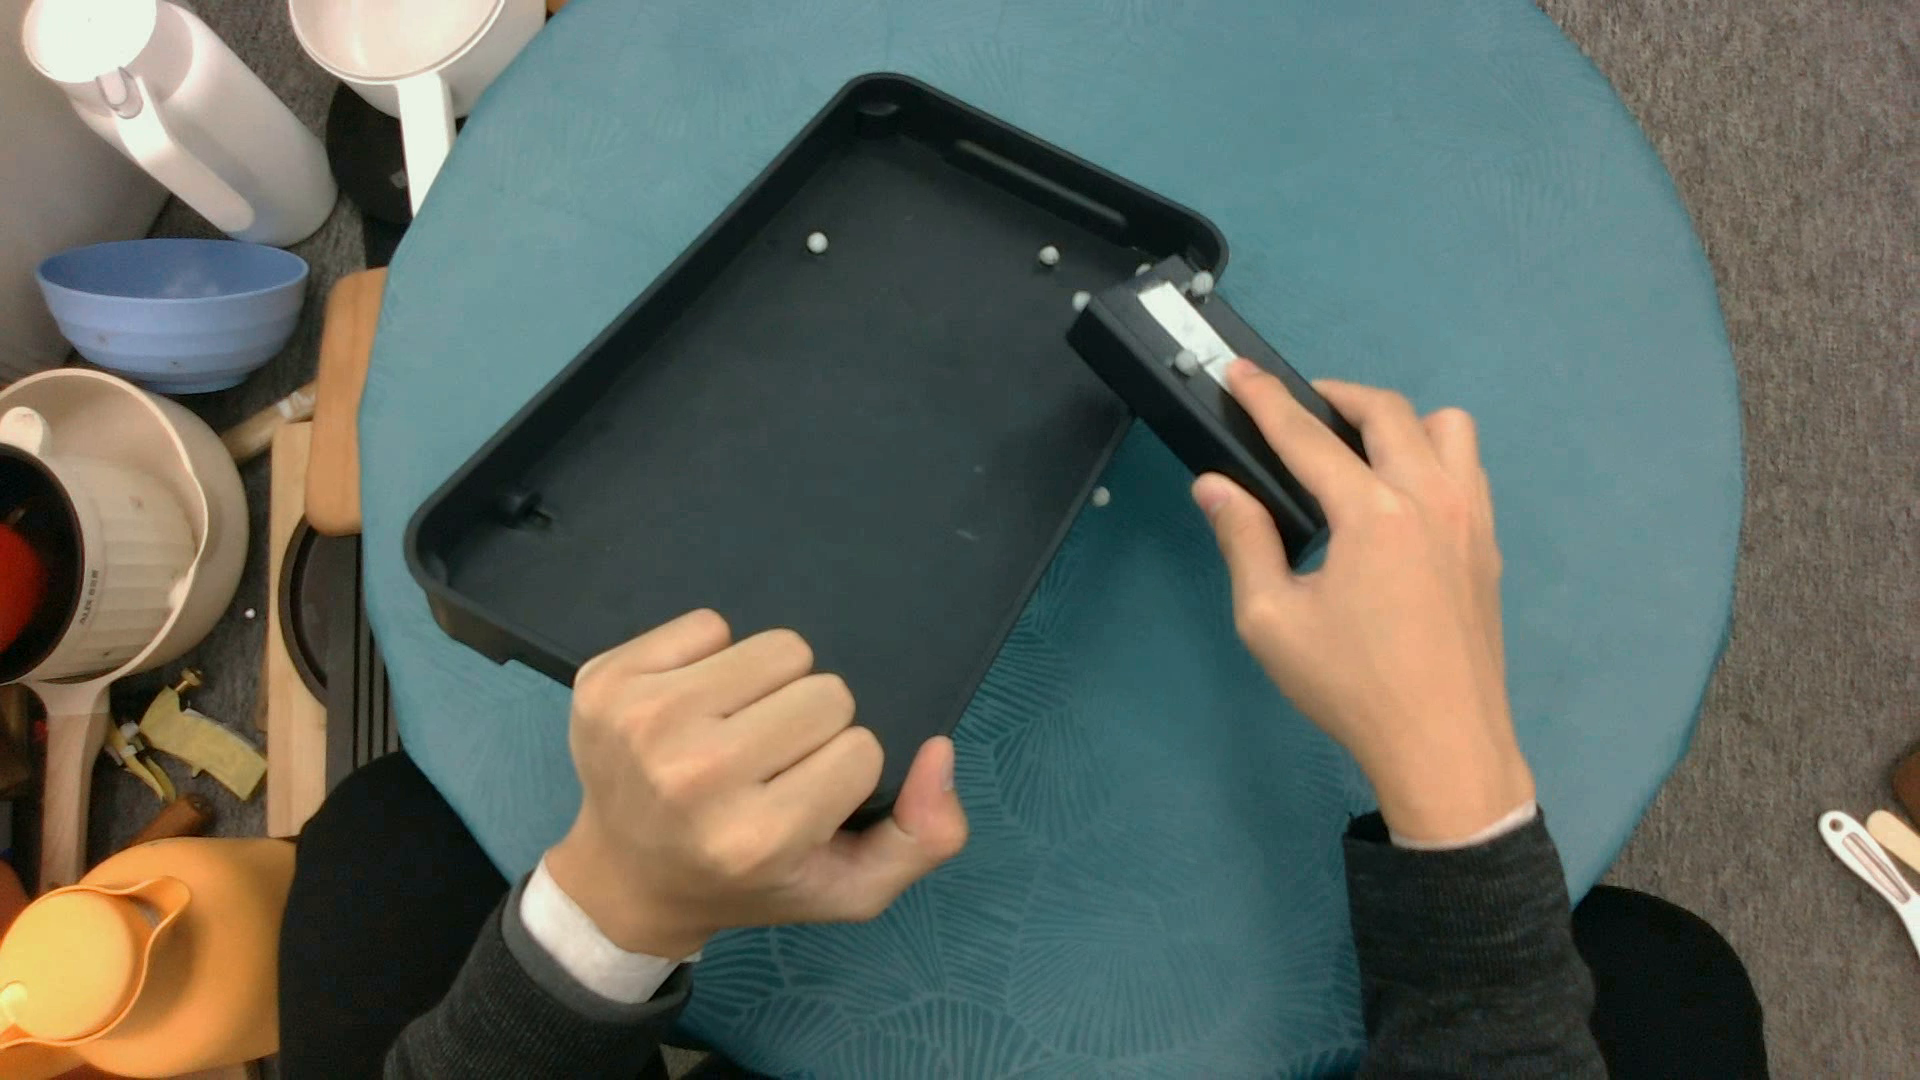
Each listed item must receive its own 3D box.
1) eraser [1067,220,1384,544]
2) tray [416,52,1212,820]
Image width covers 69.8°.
[{"bbox_3d":[0.098,-0.061,0.518,0.054,0.030,0.125,-31,75,-28],"label":"eraser"},{"bbox_3d":[-0.035,-0.062,0.522,0.184,0.037,0.319,25,55,6],"label":"tray"}]
